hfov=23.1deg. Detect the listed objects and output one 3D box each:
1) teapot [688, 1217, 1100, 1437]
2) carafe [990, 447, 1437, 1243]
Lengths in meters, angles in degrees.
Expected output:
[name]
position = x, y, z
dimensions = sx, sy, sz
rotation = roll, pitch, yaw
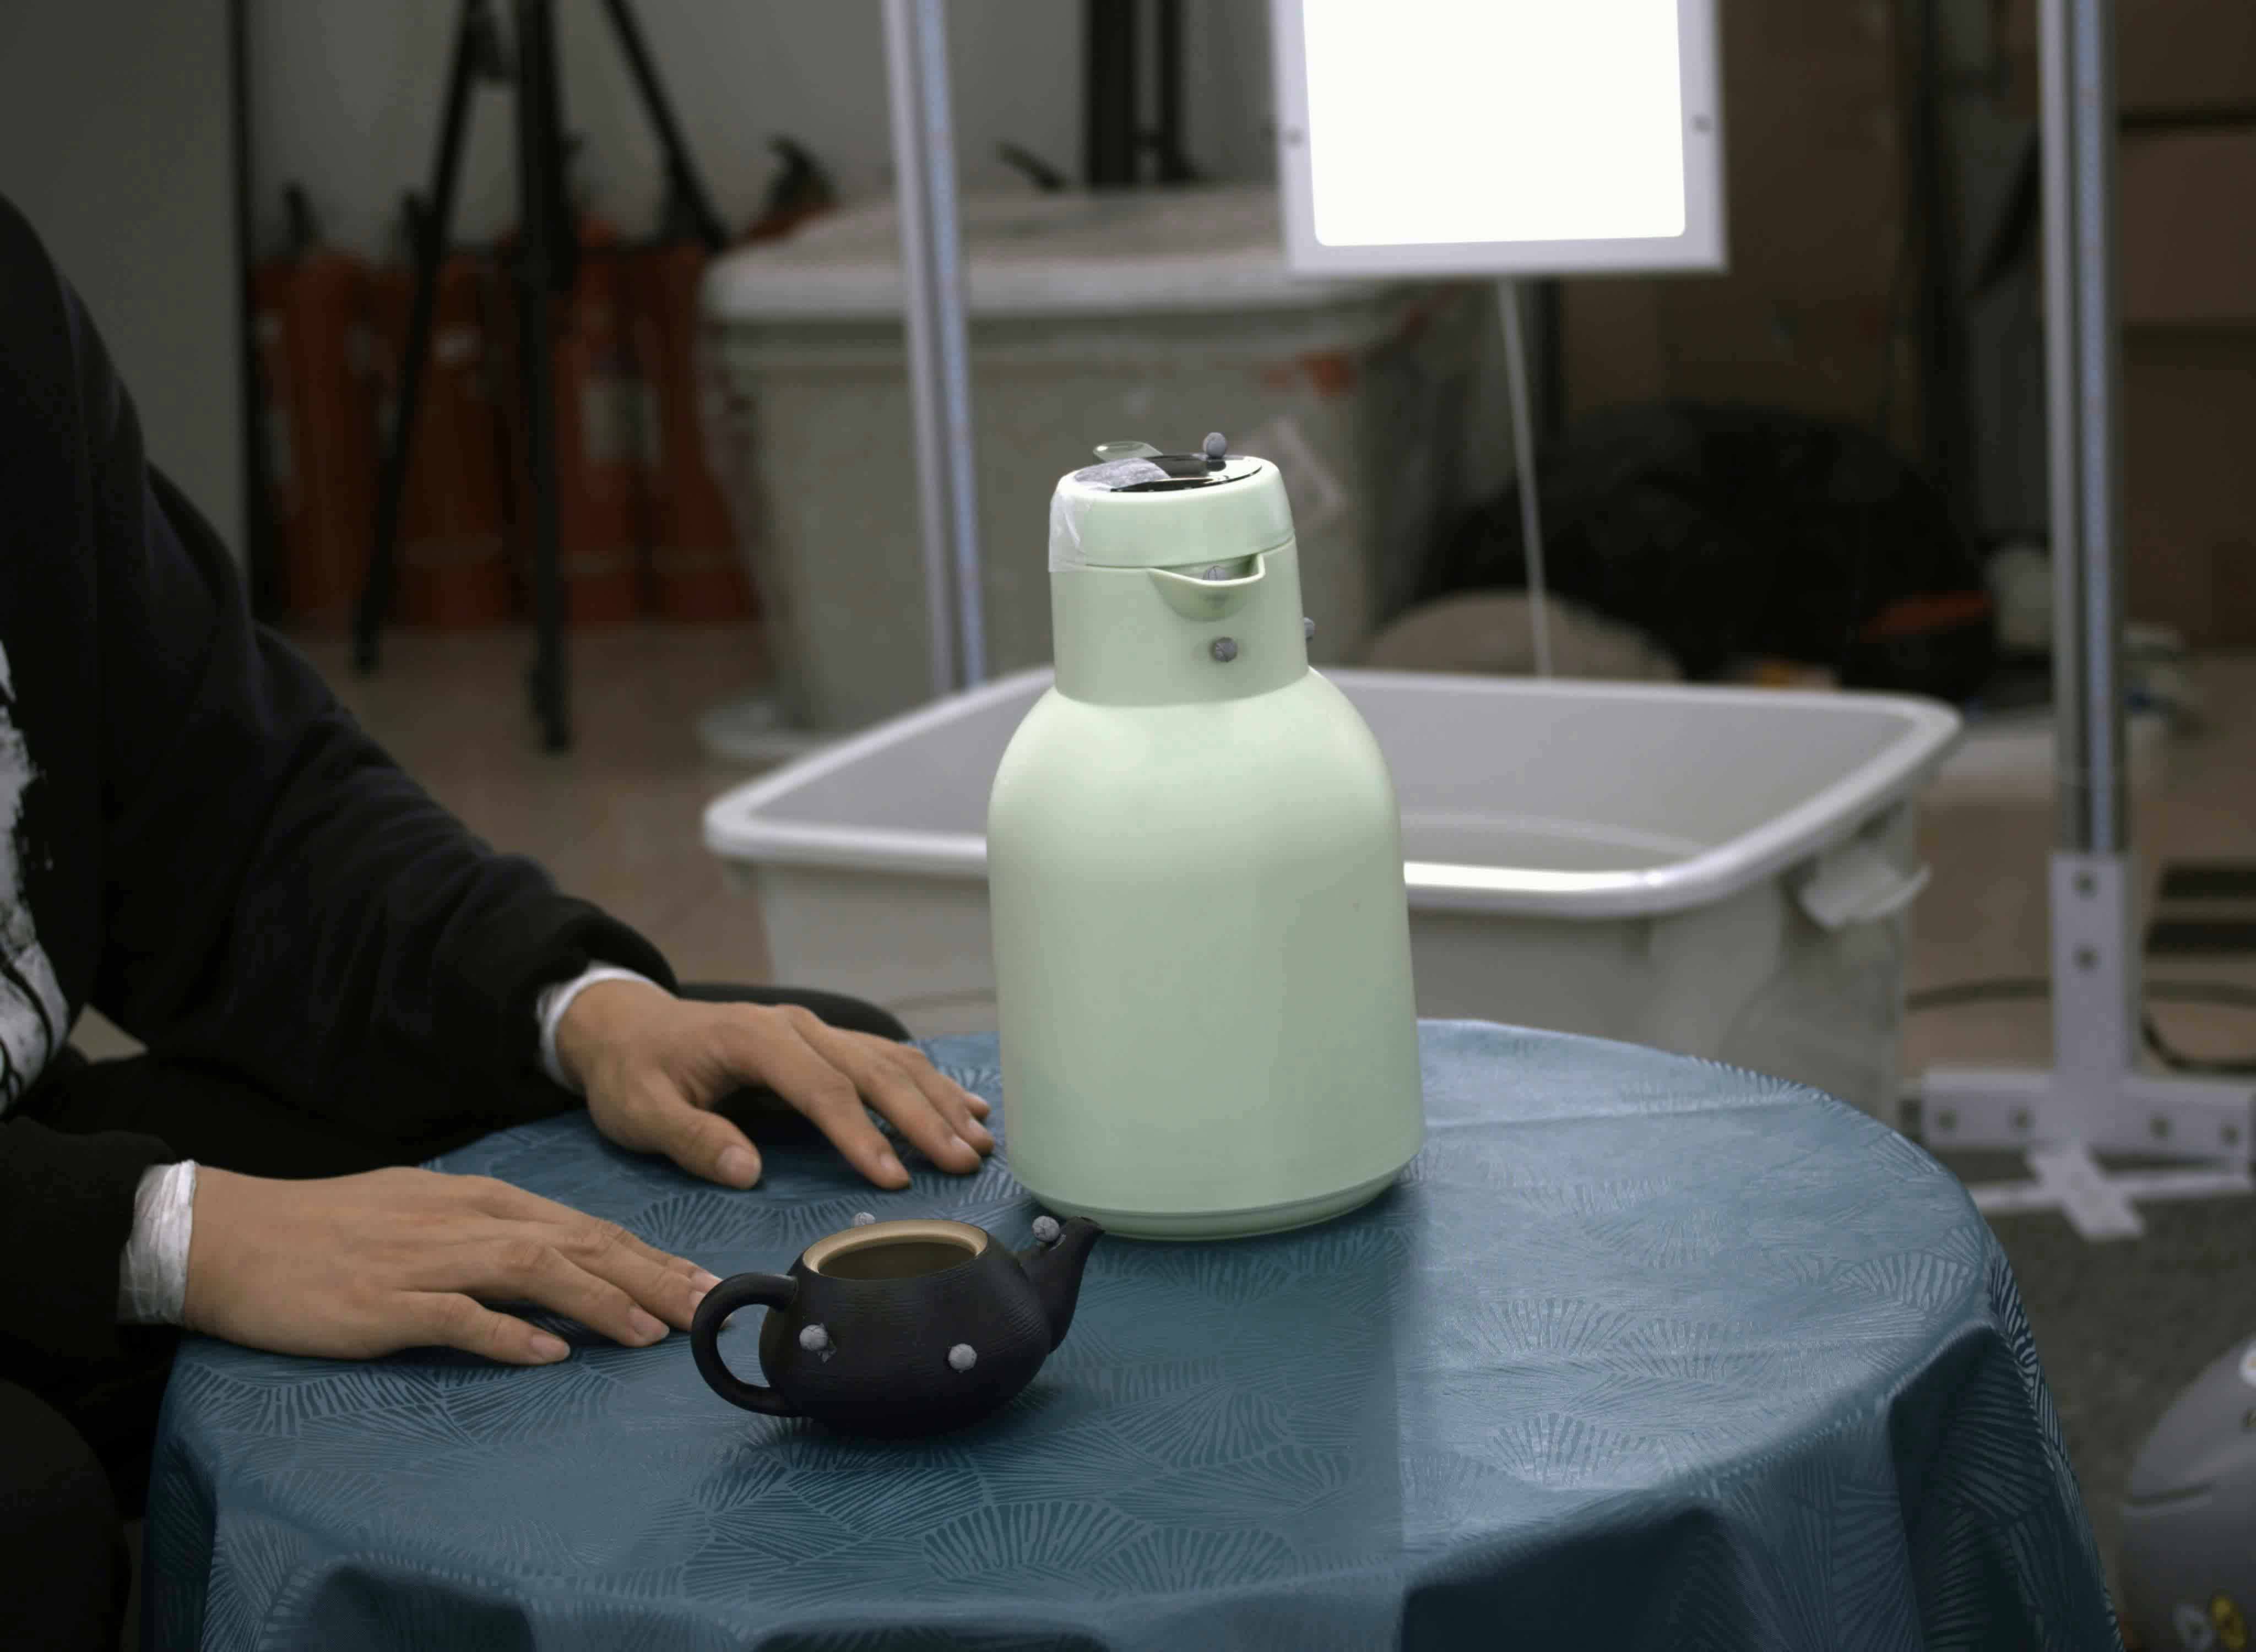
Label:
[teapot]
position = -0.070, 0.155, 1.697
dimensions = 0.131, 0.053, 0.092
rotation = -8, 12, -15
[carafe]
position = 0.019, 0.001, 1.880
dimensions = 0.142, 0.257, 0.189
rotation = -10, 11, -14
